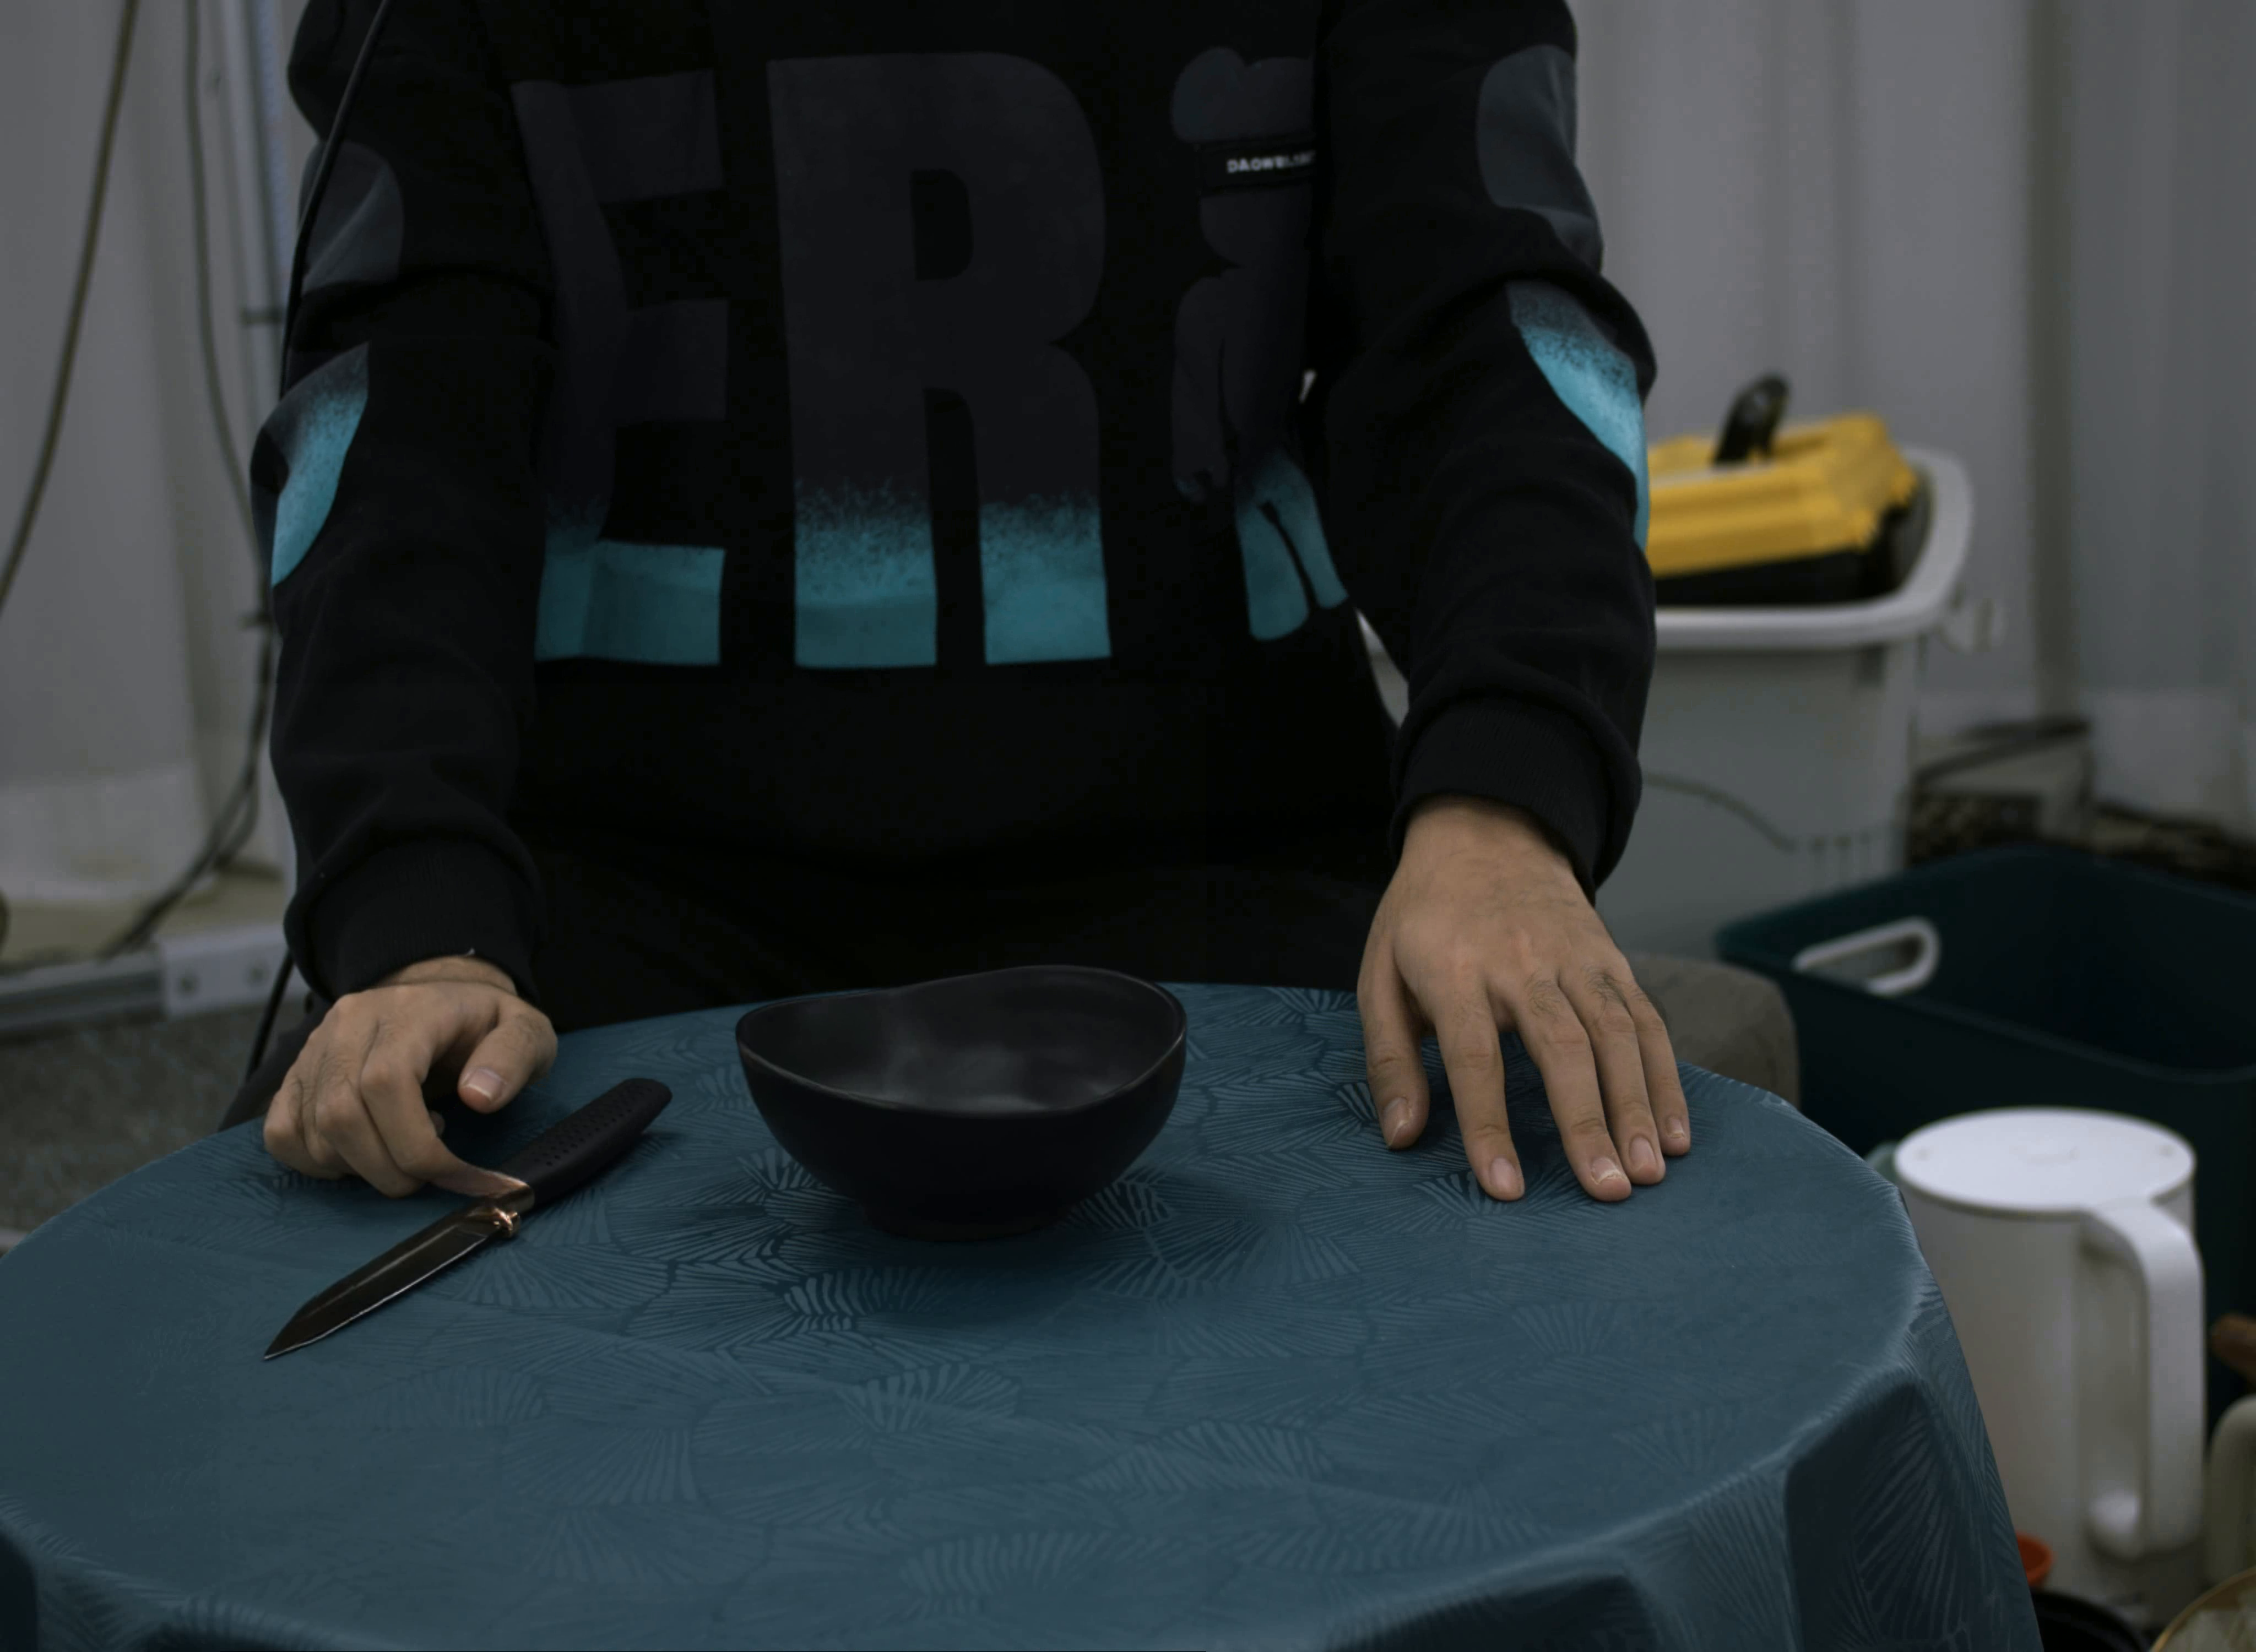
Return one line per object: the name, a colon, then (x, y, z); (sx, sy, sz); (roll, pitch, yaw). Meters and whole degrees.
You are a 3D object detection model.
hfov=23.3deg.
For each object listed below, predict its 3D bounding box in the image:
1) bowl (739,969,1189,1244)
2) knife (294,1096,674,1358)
bowl: (-0.051, 0.090, 1.696); (0.137, 0.066, 0.171); (-8, 14, -19)
knife: (-0.200, 0.124, 1.697); (0.026, 0.017, 0.226); (-1, 15, 26)
